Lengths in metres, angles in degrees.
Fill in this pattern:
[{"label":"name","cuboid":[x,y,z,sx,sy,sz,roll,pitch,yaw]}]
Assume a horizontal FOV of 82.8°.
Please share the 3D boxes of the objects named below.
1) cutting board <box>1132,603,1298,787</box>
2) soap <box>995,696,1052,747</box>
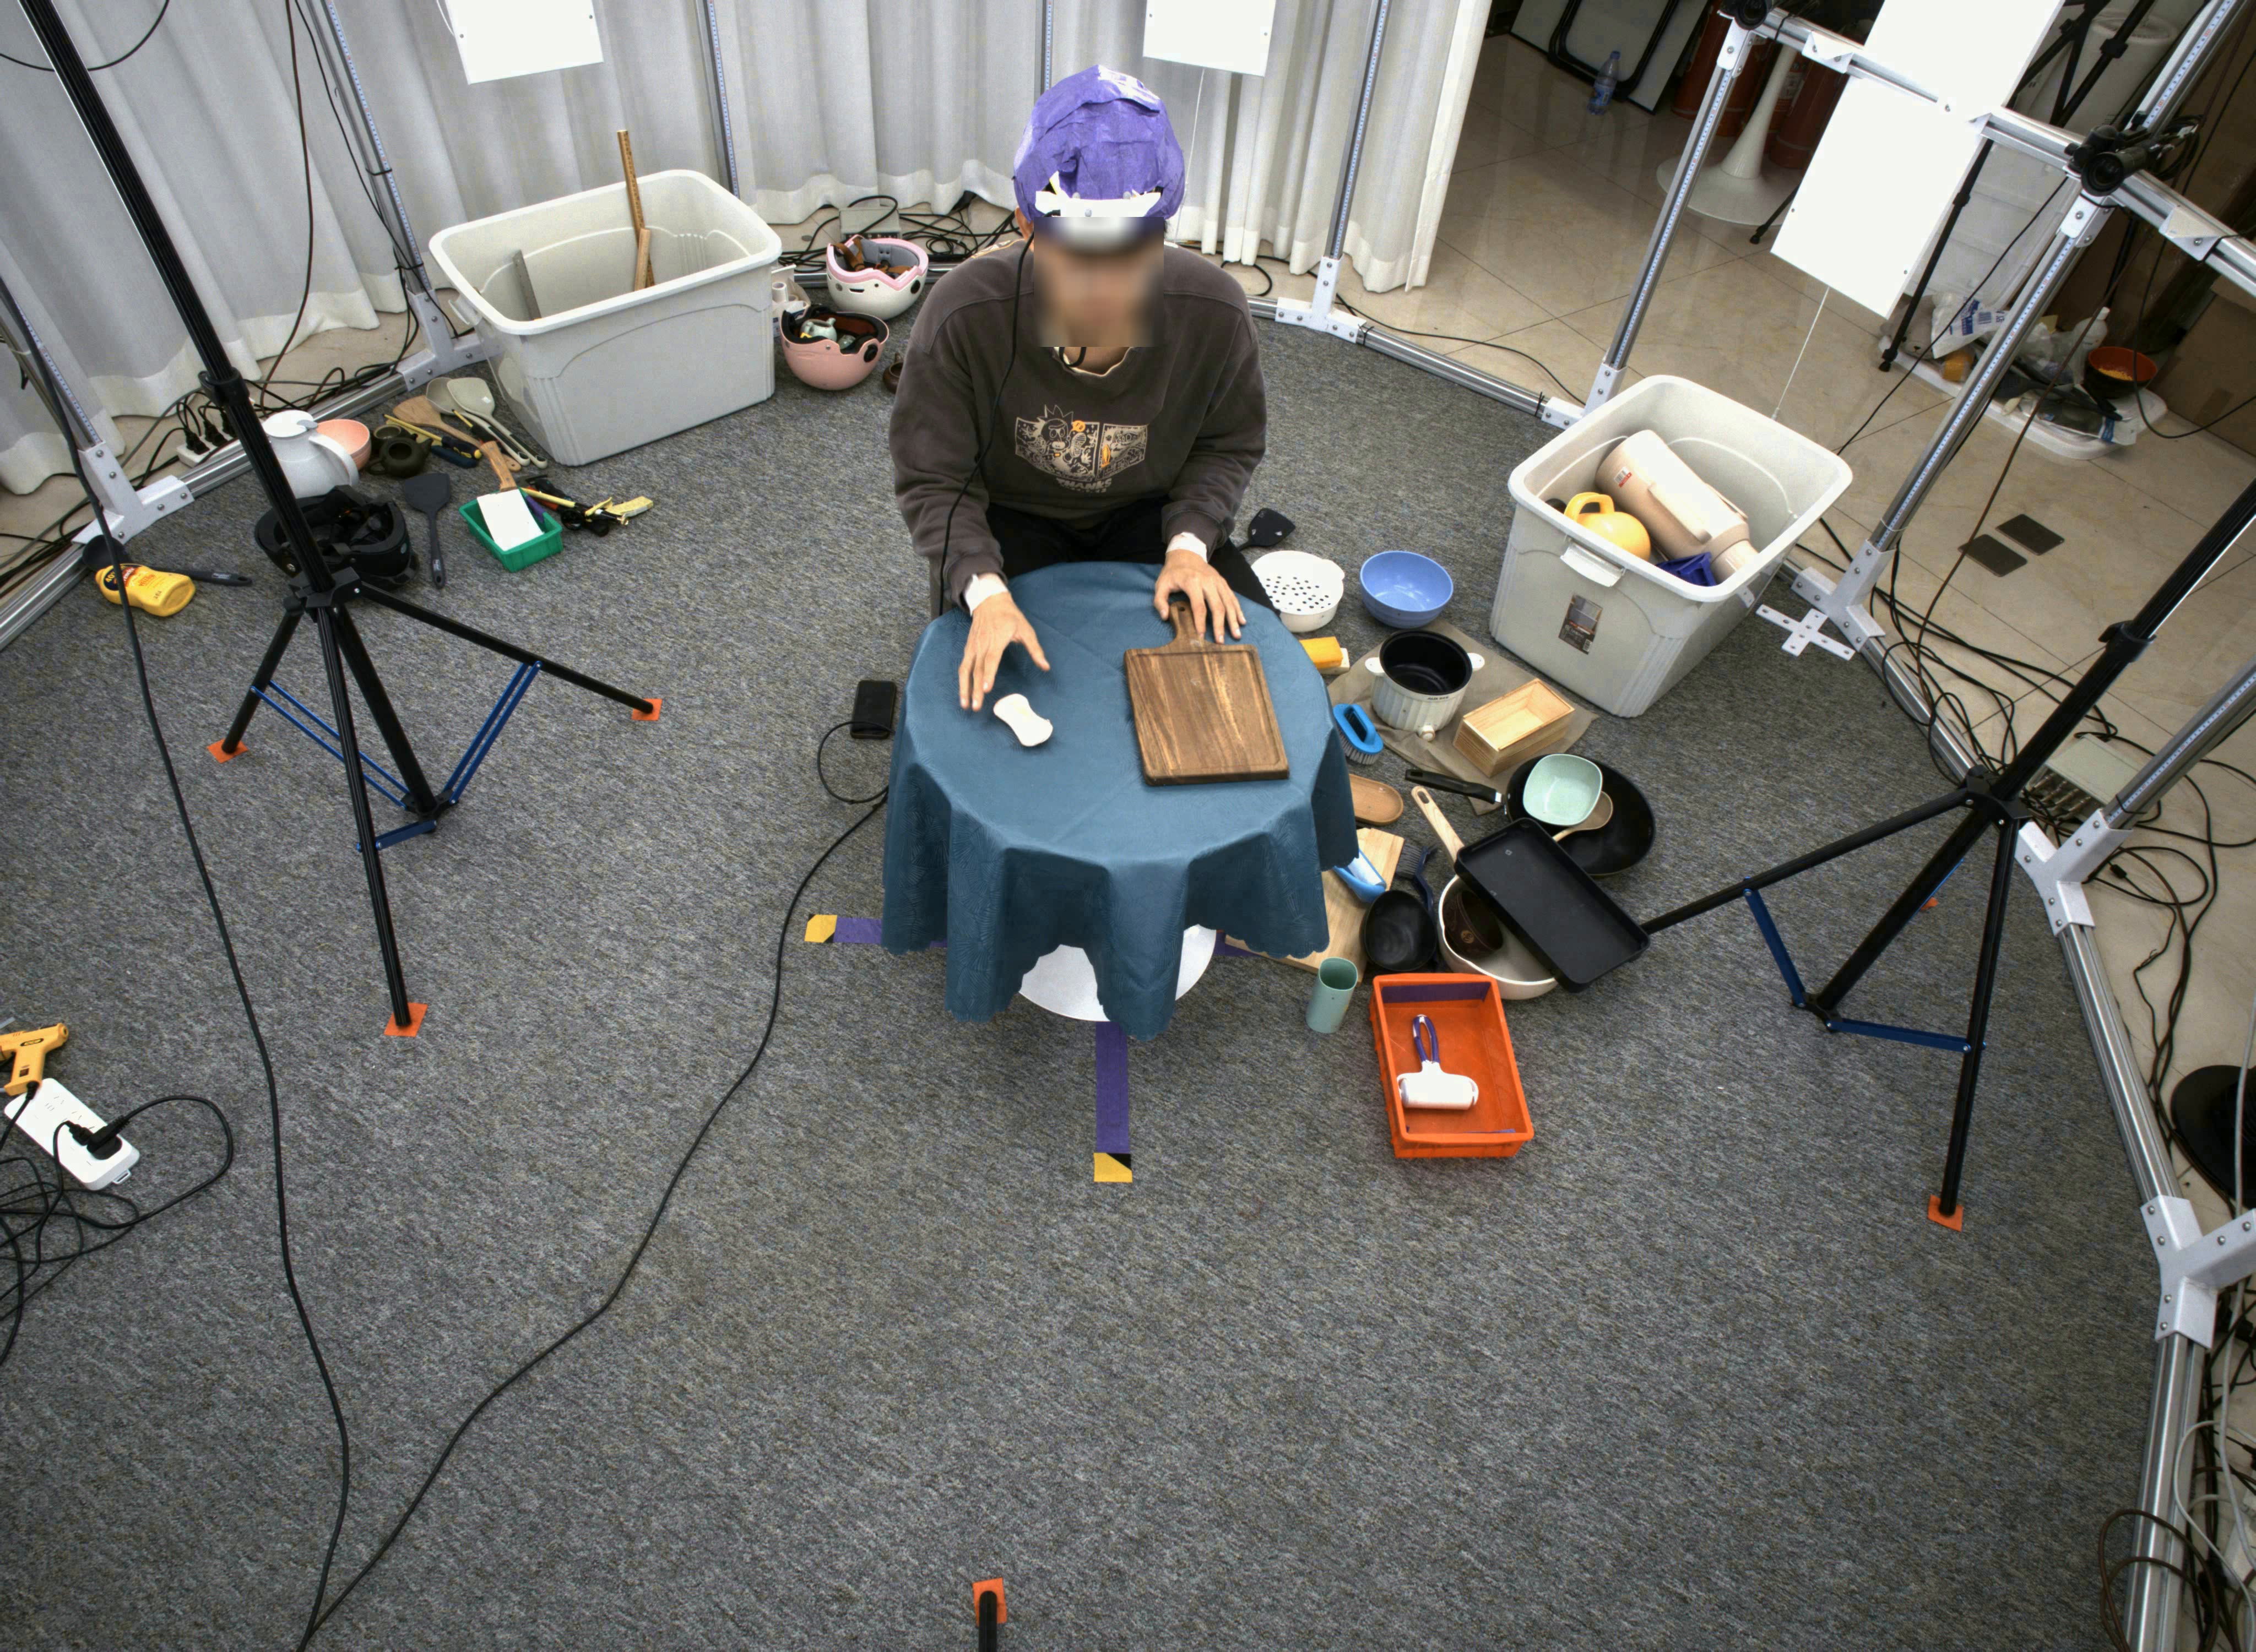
[{"label":"cutting board","cuboid":[0.113,-0.196,1.830,0.201,0.022,0.361,-3,49,-6]},{"label":"soap","cuboid":[-0.144,-0.145,1.765,0.050,0.029,0.096,-24,53,-23]}]
